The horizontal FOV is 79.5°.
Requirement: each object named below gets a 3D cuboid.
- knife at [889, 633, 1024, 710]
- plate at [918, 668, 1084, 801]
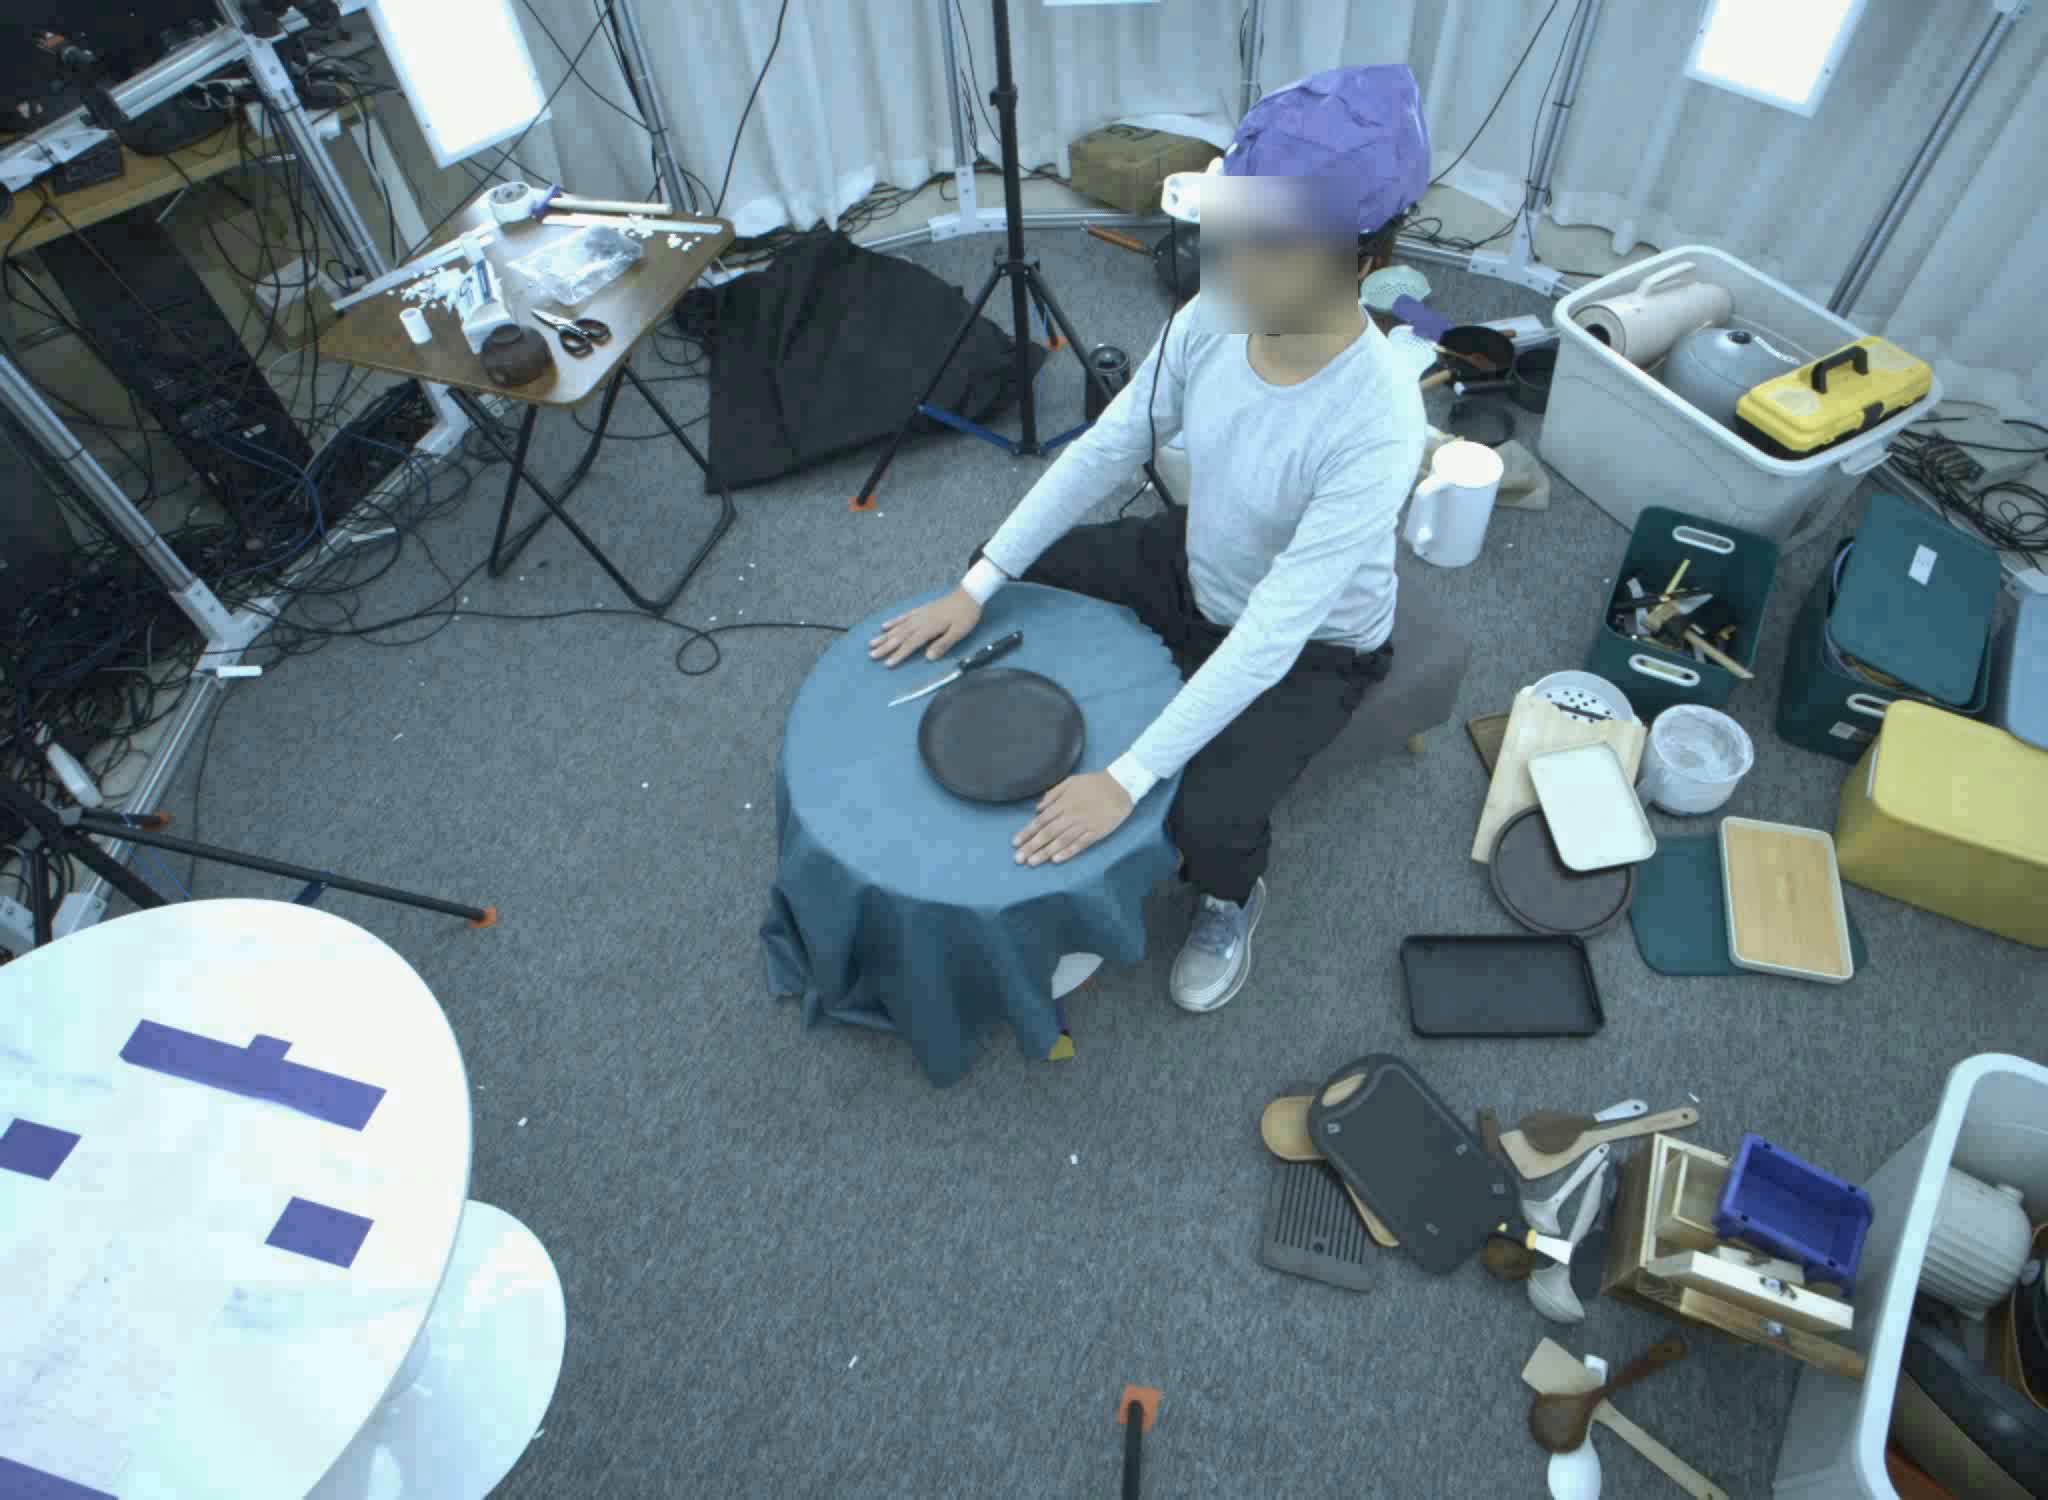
[{"bbox_3d":[-0.105,-0.121,1.878,0.240,0.016,0.024,-30,58,-15],"label":"knife"},{"bbox_3d":[-0.033,-0.022,1.798,0.244,0.023,0.242,0,54,1],"label":"plate"}]
